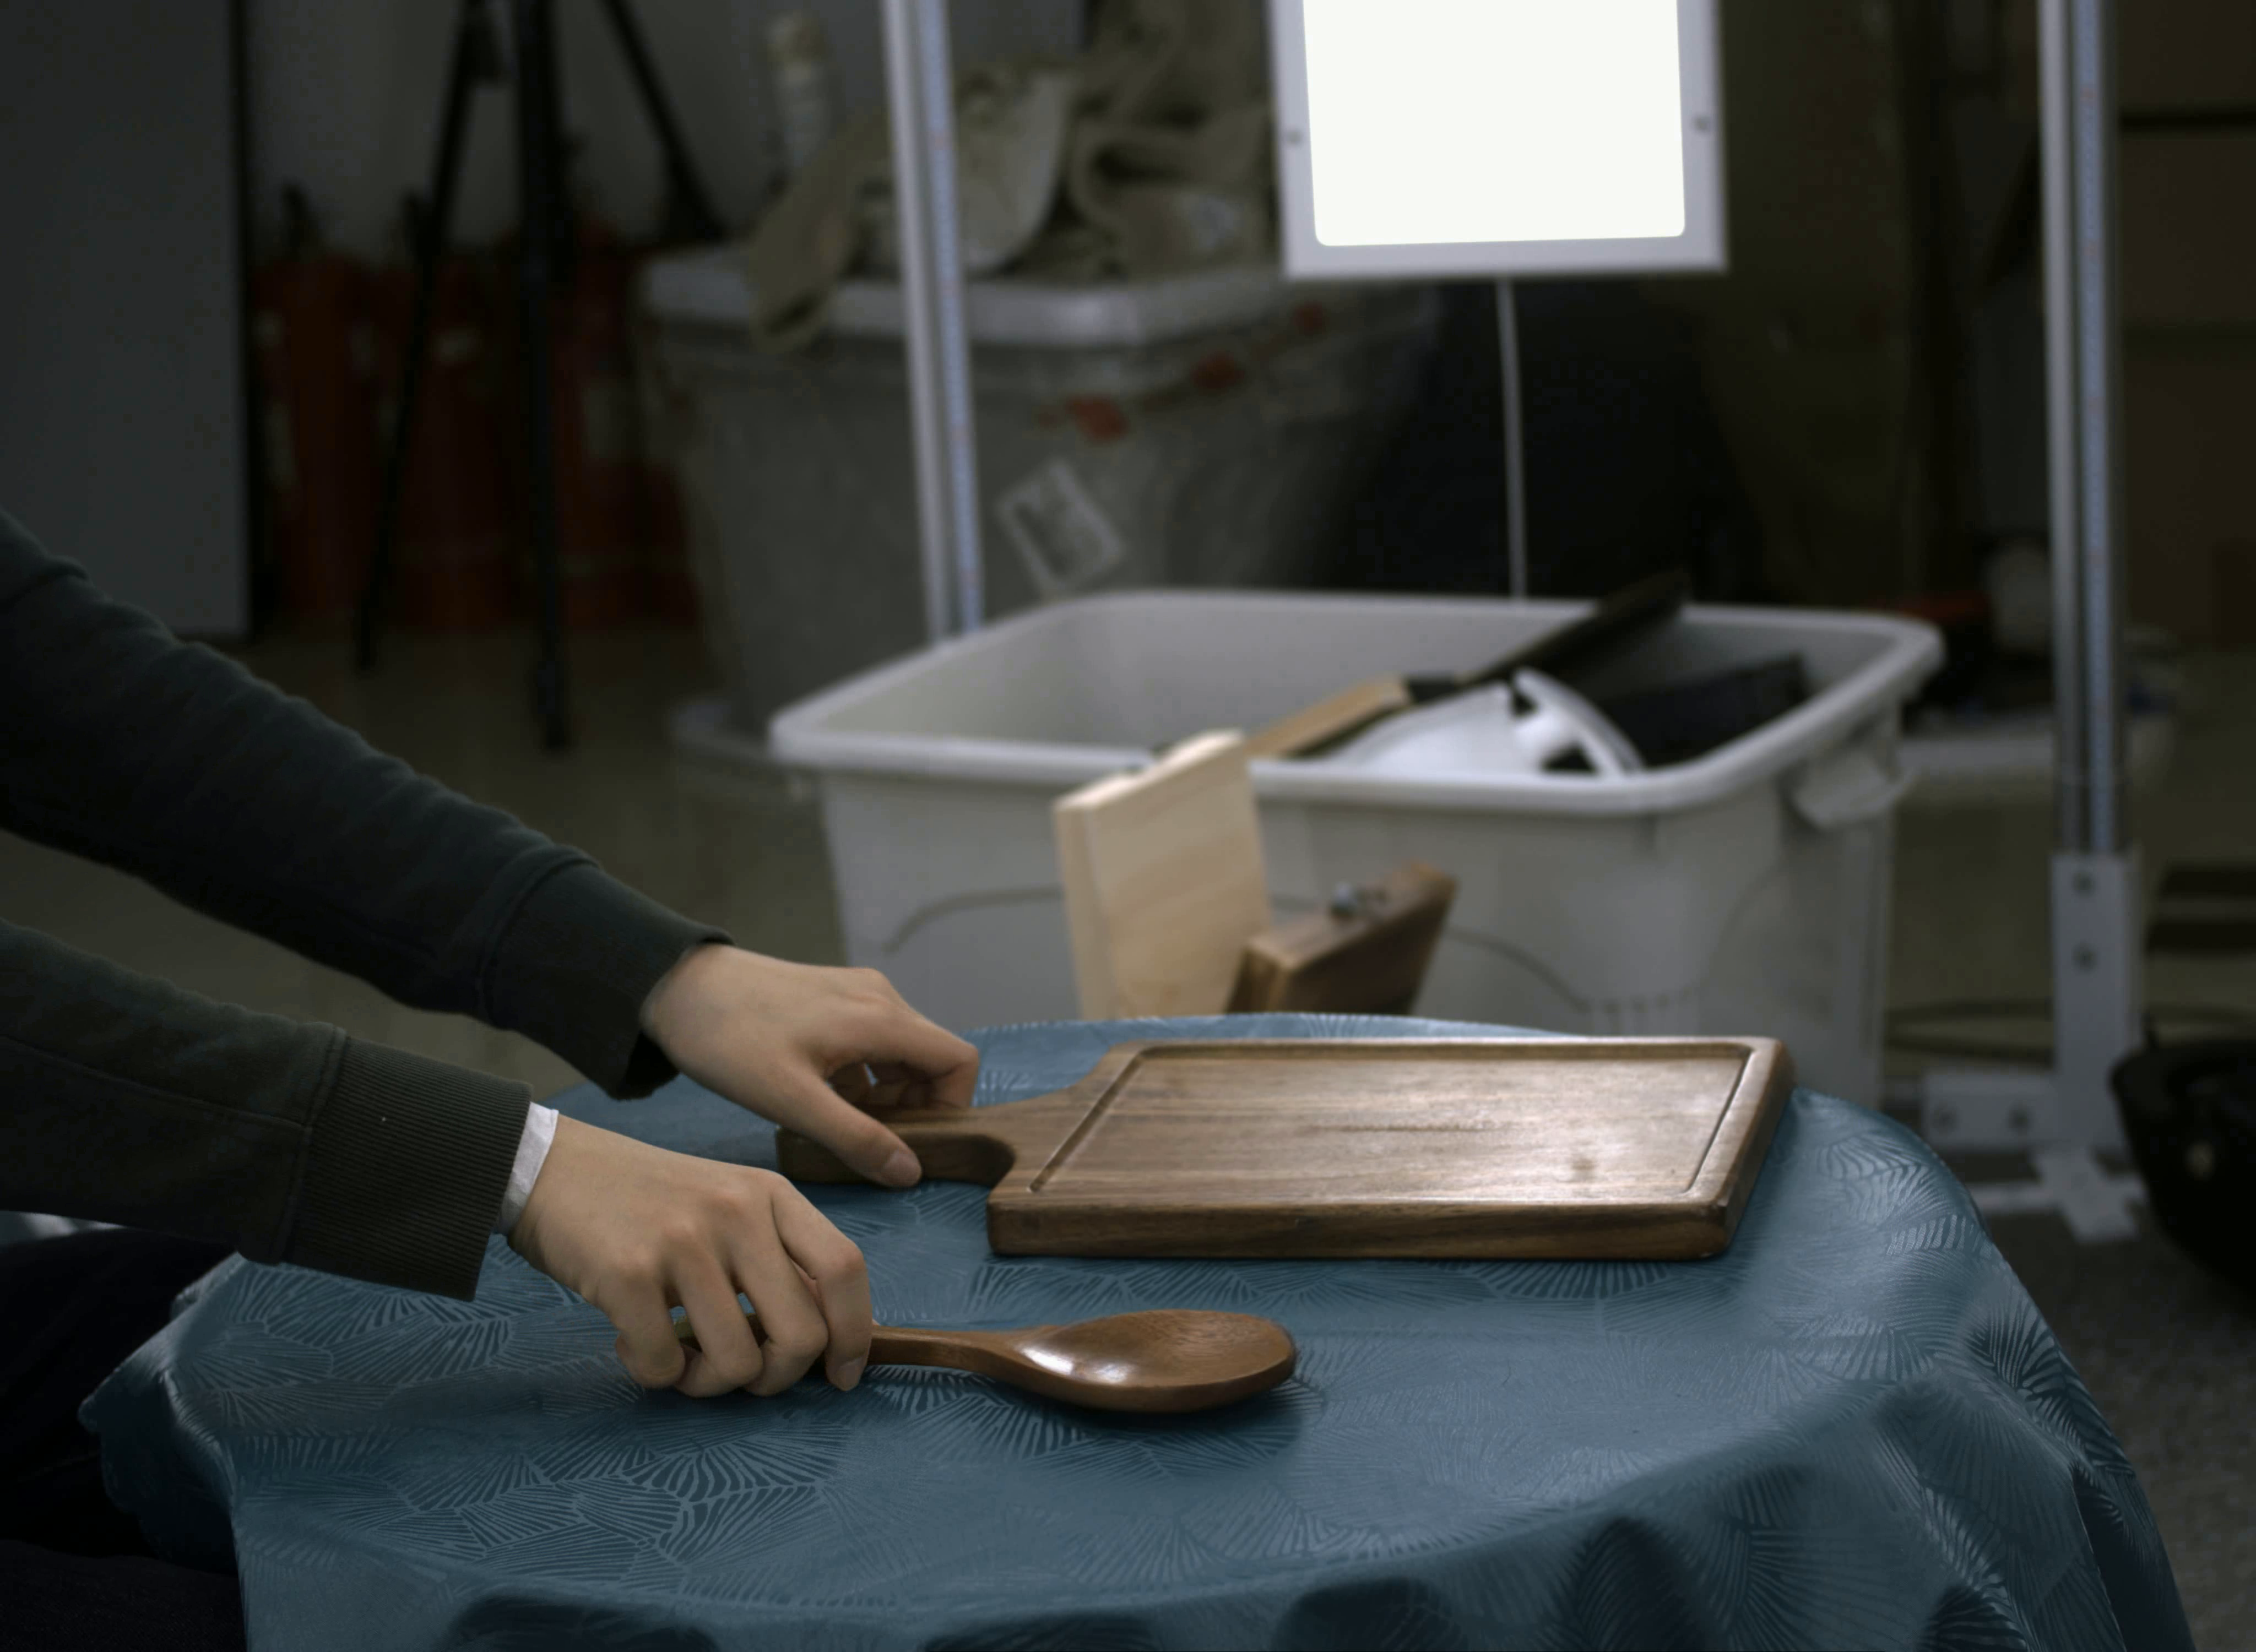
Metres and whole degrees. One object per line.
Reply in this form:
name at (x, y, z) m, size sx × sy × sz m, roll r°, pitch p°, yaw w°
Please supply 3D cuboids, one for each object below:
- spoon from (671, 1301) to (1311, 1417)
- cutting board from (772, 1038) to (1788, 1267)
spoon at (-0.045, 0.164, 1.722) m, size 0.219 × 0.017 × 0.074 m, roll 2°, pitch 17°, yaw 25°
cutting board at (0.046, 0.111, 1.907) m, size 0.356 × 0.023 × 0.198 m, roll -1°, pitch 15°, yaw 16°
